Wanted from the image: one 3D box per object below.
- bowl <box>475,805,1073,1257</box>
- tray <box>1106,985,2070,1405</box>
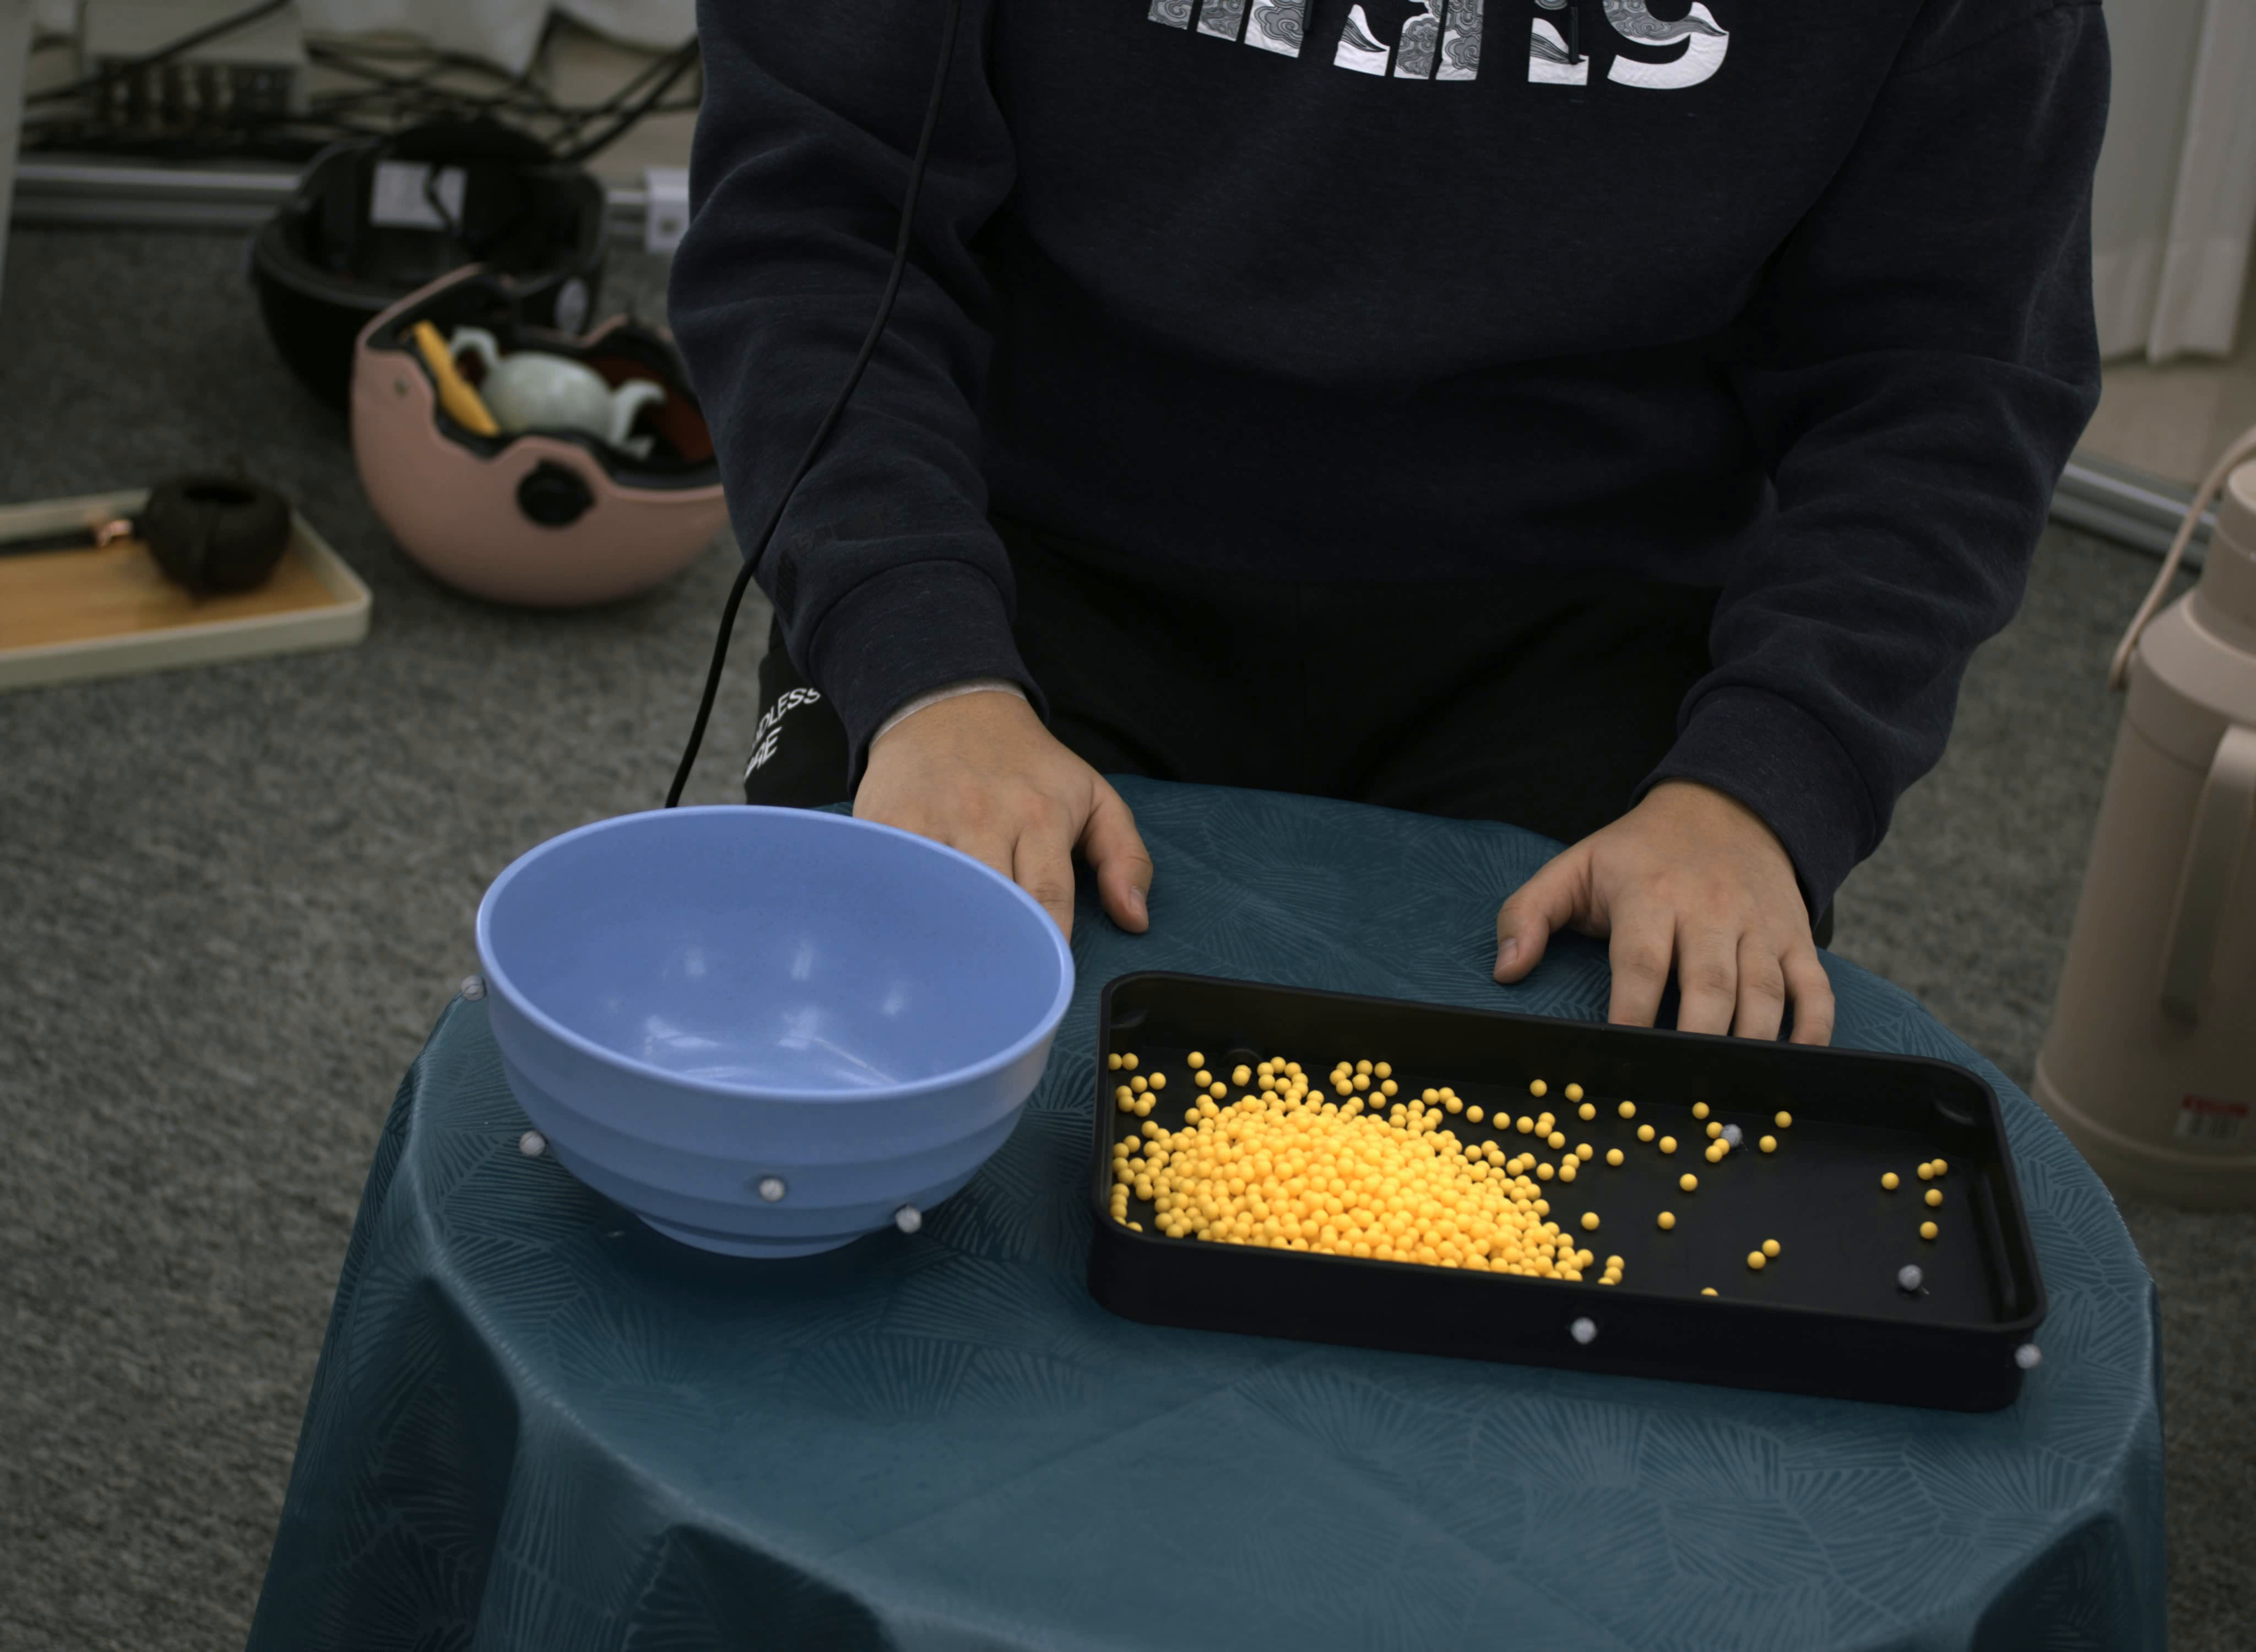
[{"bbox_3d":[-0.119,0.078,1.761,0.196,0.095,0.198,4,27,-3],"label":"bowl"},{"bbox_3d":[0.149,0.123,1.806,0.317,0.037,0.185,5,26,-2],"label":"tray"}]
